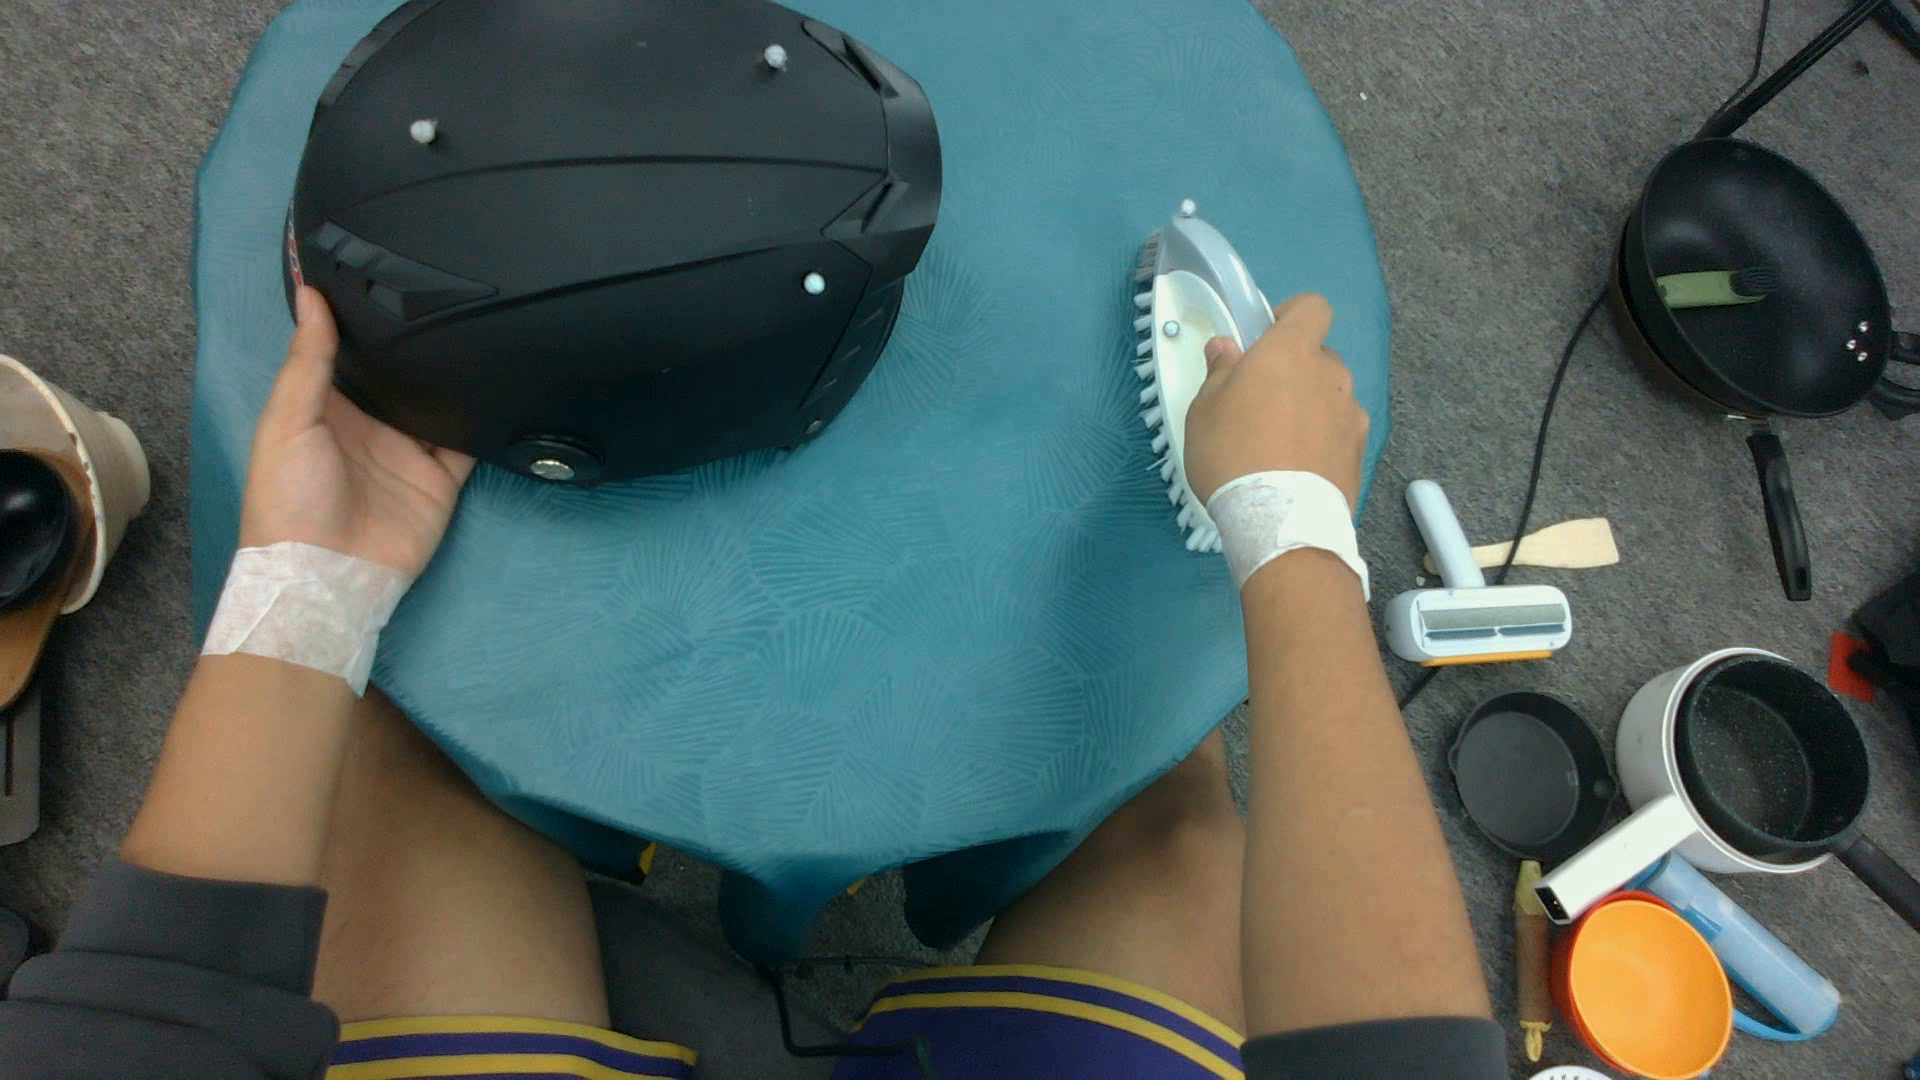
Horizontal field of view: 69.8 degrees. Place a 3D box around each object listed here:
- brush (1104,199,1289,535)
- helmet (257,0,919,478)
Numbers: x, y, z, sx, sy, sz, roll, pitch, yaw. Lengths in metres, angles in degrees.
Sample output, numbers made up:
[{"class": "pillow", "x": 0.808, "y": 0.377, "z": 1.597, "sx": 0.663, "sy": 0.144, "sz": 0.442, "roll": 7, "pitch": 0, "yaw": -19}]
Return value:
[{"class": "brush", "x": 0.115, "y": -0.098, "z": 0.676, "sx": 0.061, "sy": 0.094, "sz": 0.176, "roll": -10, "pitch": 73, "yaw": -18}, {"class": "helmet", "x": -0.161, "y": -0.158, "z": 0.596, "sx": 0.277, "sy": 0.171, "sz": 0.247, "roll": 0, "pitch": 73, "yaw": -17}]
